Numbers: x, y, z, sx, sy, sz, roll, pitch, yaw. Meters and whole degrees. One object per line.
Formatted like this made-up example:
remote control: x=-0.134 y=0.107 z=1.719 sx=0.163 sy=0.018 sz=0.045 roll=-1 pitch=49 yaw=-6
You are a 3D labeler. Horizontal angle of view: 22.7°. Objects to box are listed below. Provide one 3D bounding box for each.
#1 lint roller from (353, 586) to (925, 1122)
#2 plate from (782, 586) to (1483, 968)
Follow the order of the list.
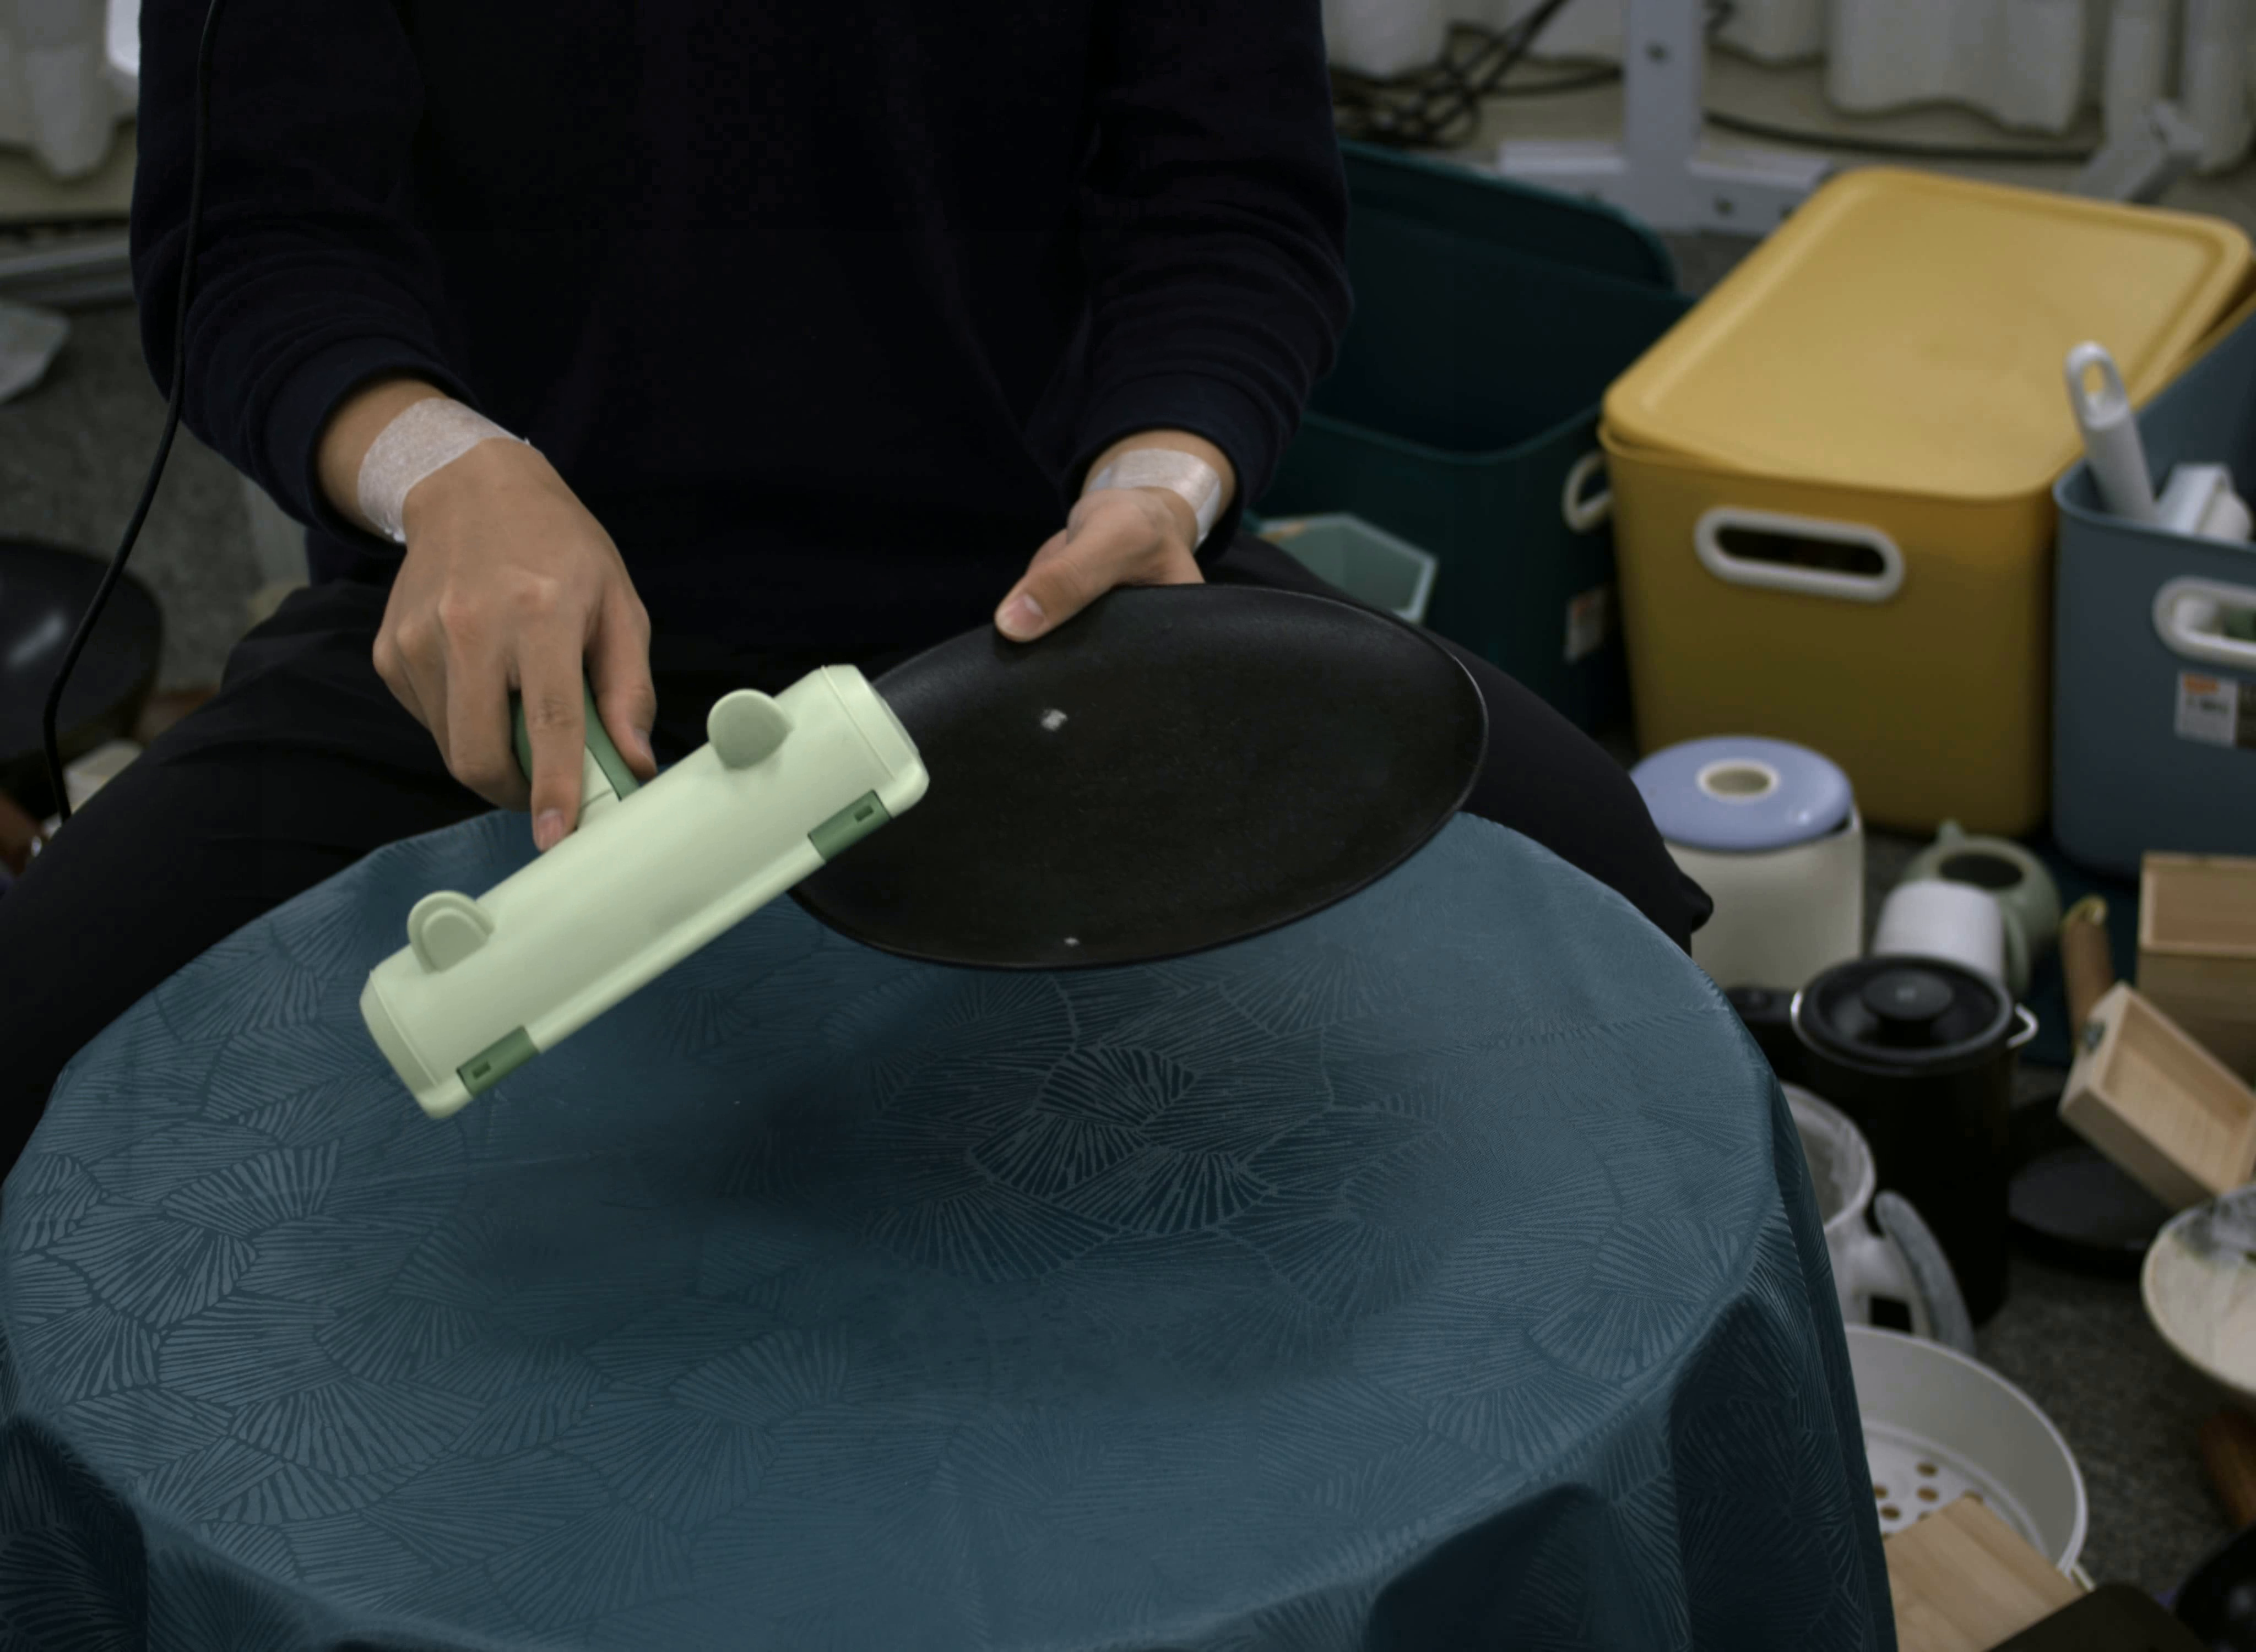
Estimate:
lint roller: x=-0.187 y=-0.023 z=1.834 sx=0.198 sy=0.081 sz=0.185 roll=-34 pitch=61 yaw=-2
plate: x=-0.002 y=-0.013 z=1.865 sx=0.243 sy=0.023 sz=0.248 roll=-7 pitch=30 yaw=4
